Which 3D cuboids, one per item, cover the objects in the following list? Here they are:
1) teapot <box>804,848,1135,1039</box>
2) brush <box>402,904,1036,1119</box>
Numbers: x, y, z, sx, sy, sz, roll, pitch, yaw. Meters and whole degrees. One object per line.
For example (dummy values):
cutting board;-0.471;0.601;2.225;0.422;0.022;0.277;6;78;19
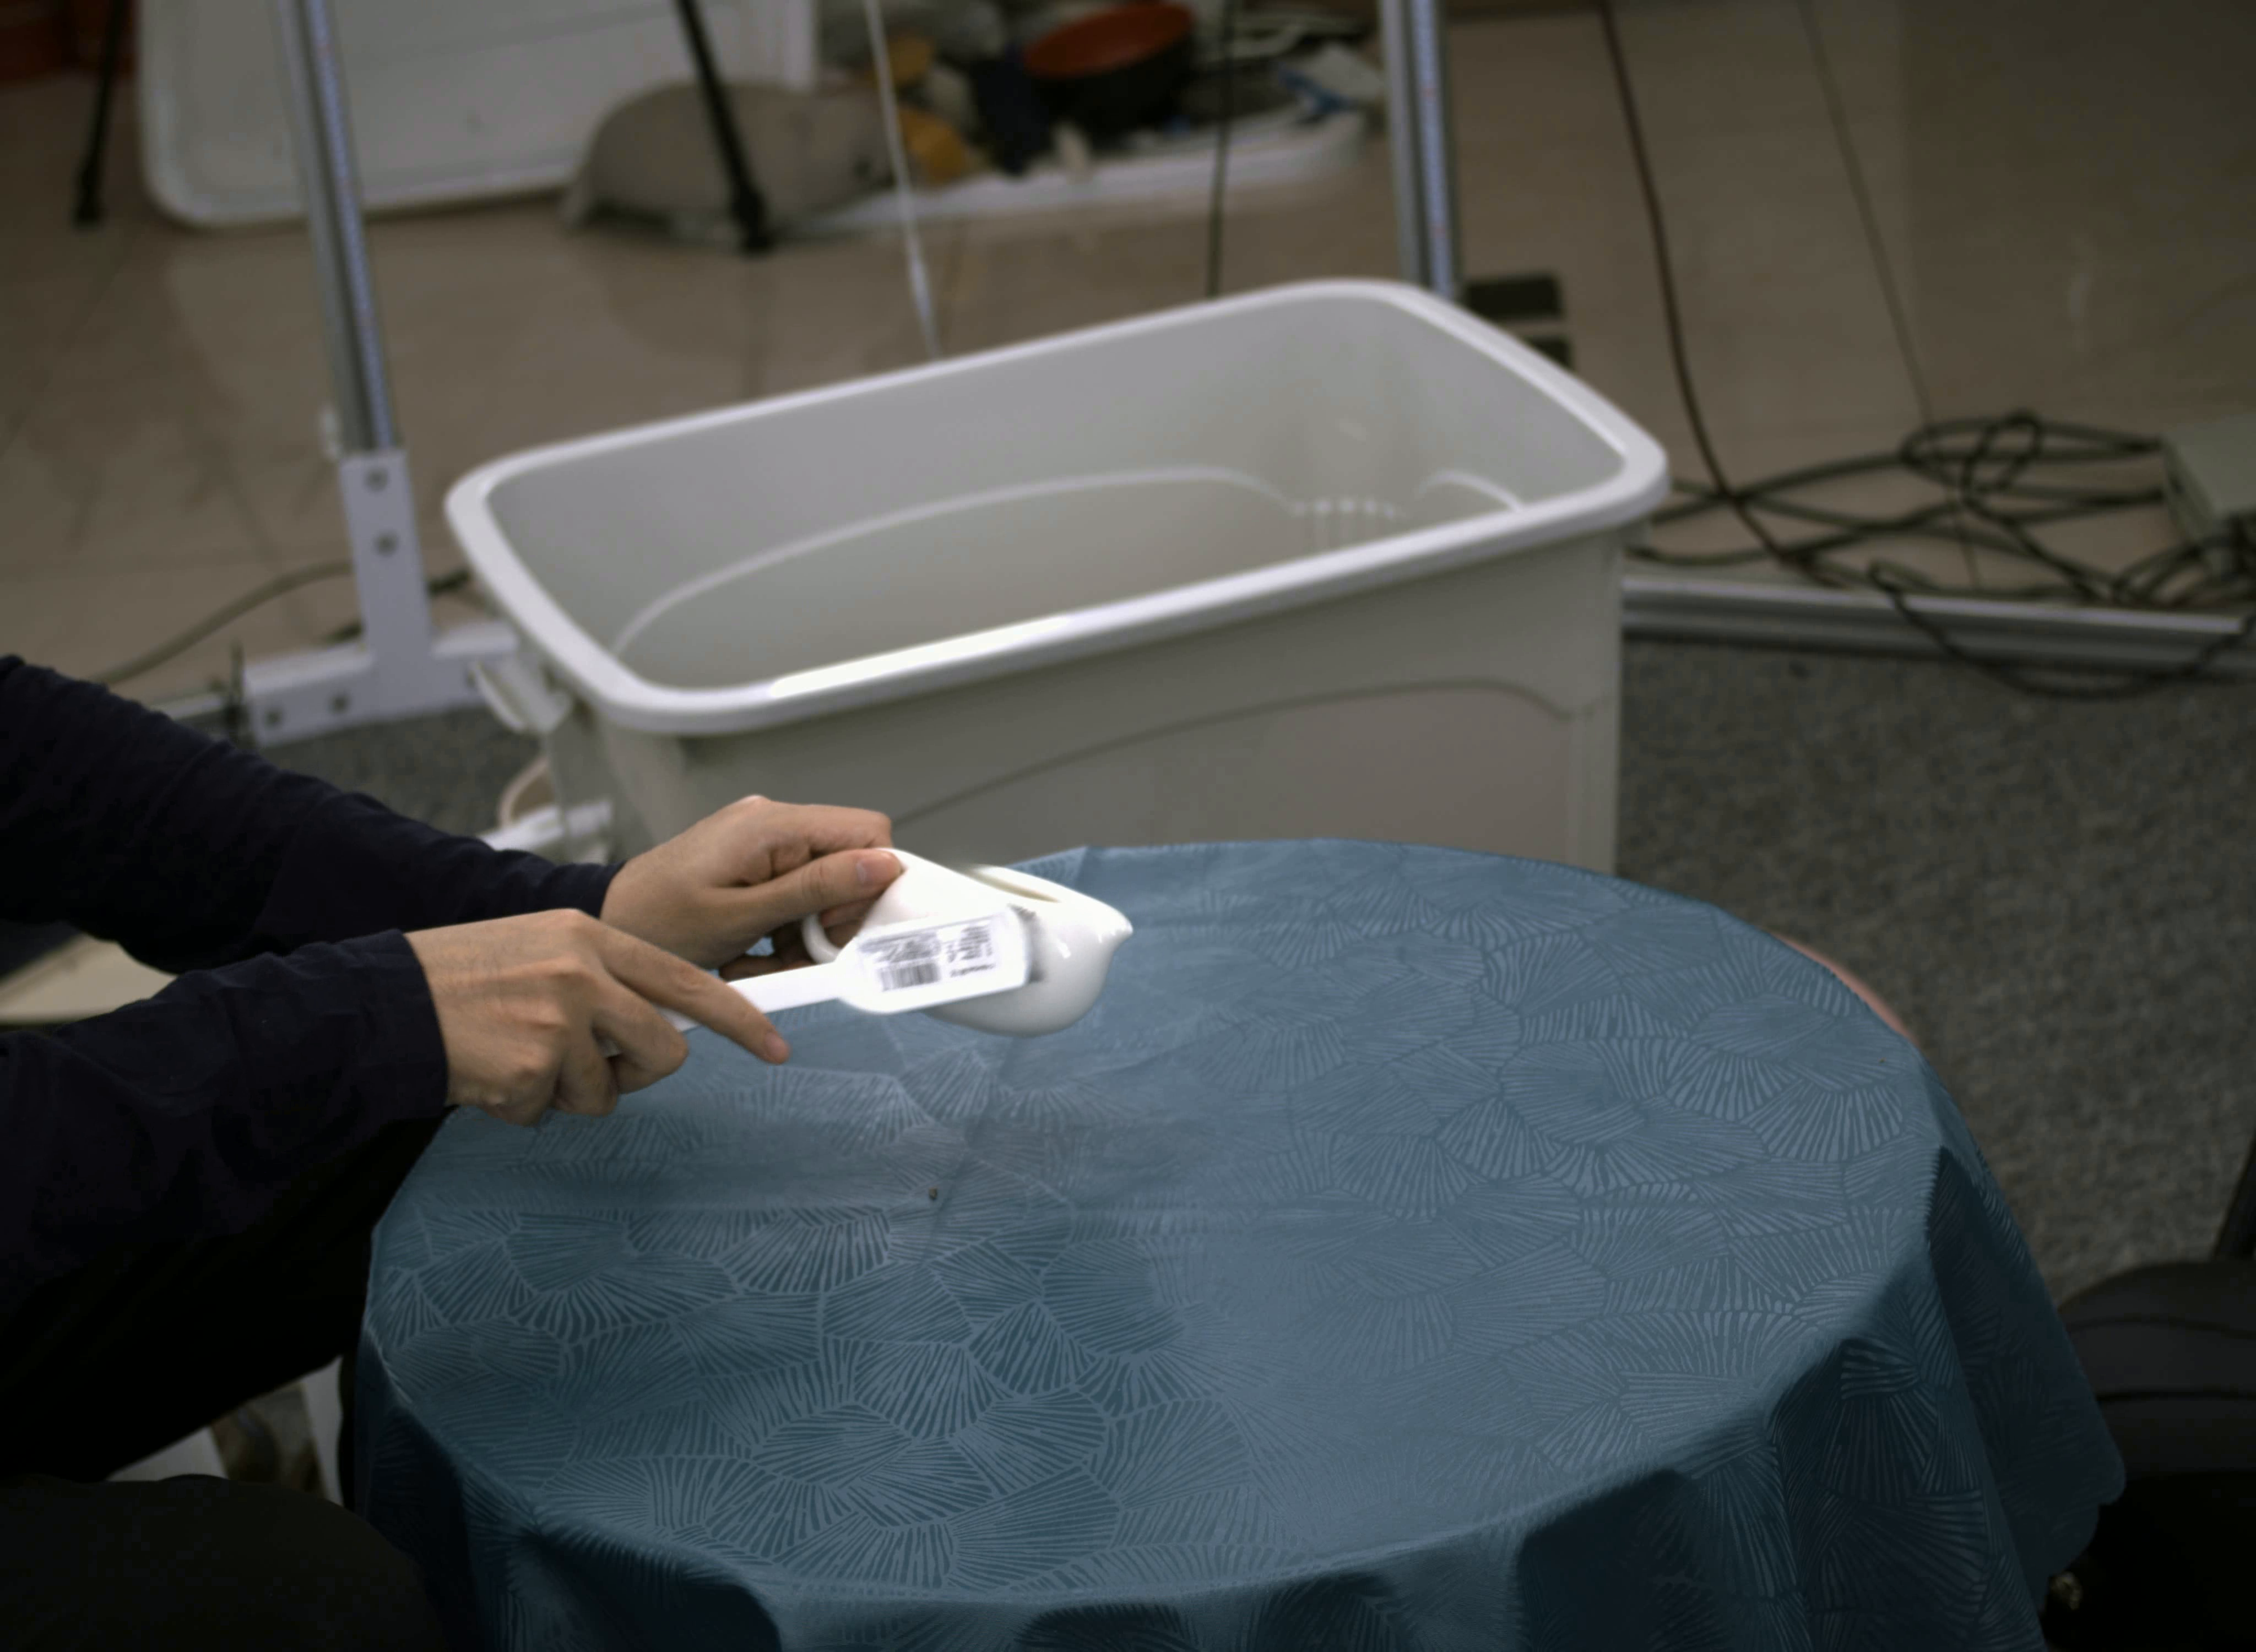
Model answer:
teapot;-0.063;0.044;2.172;0.127;0.057;0.093;14;12;5
brush;-0.150;0.069;2.084;0.243;0.034;0.050;-13;3;-13
